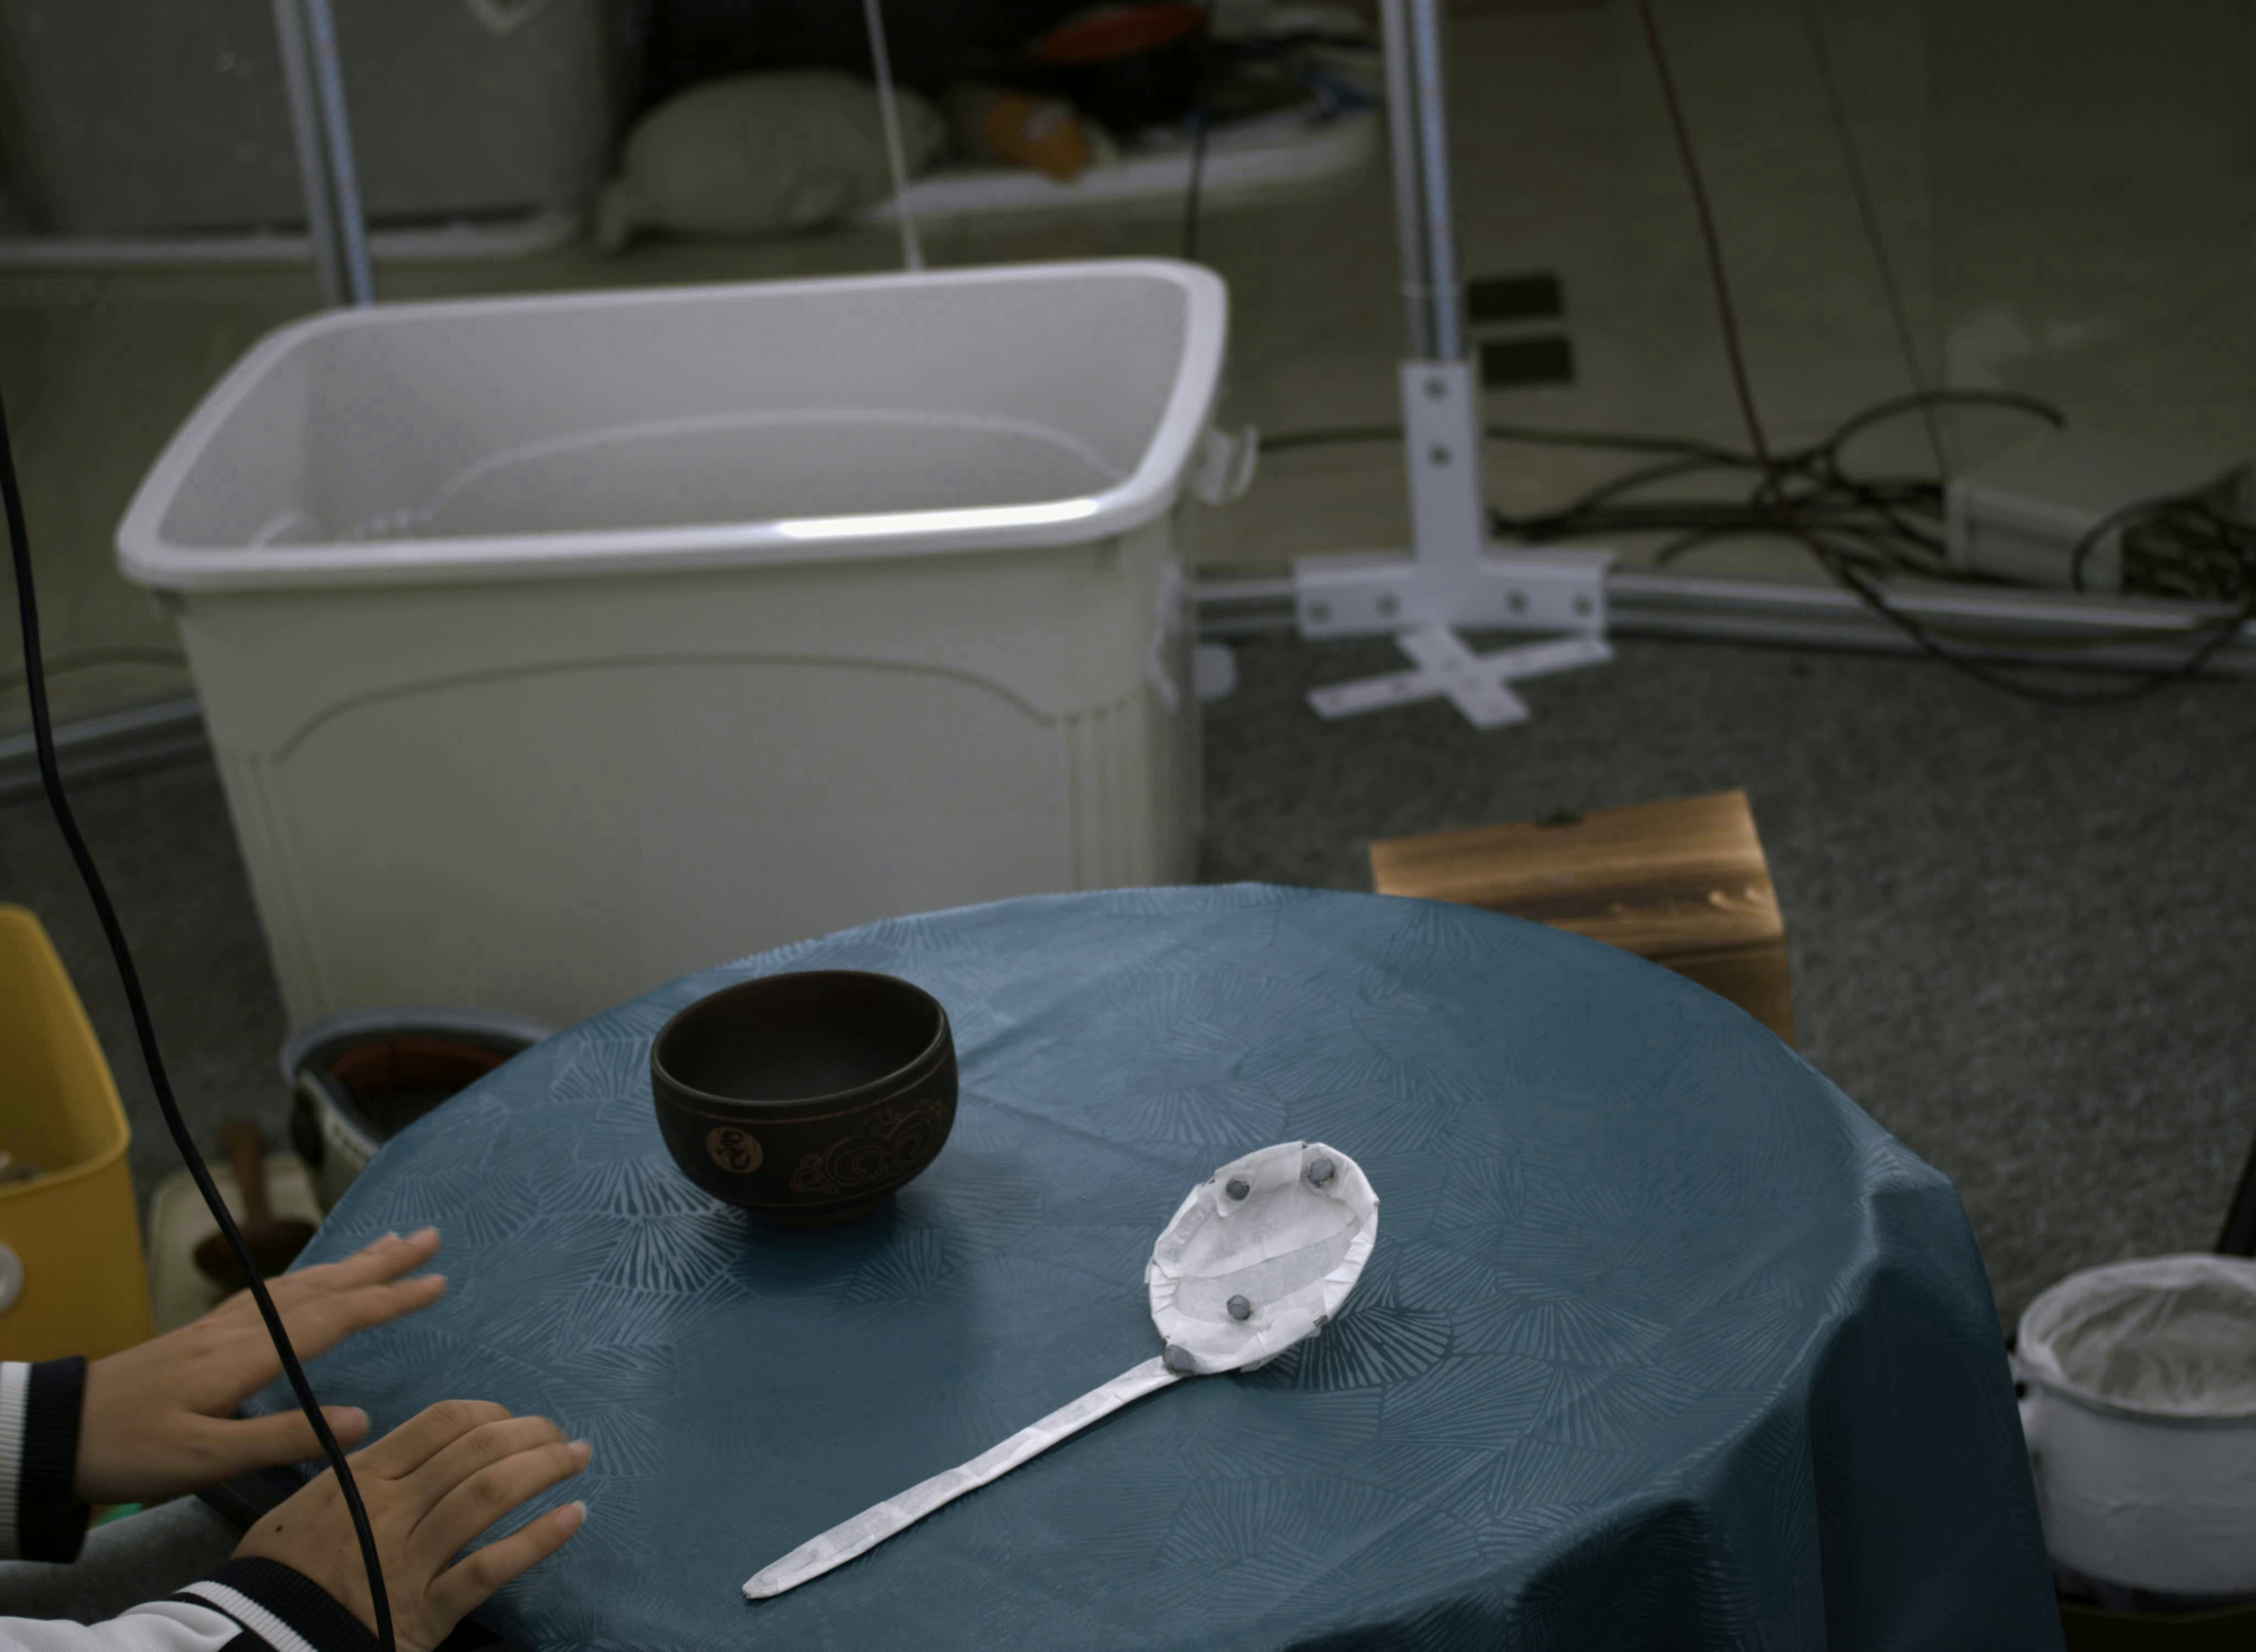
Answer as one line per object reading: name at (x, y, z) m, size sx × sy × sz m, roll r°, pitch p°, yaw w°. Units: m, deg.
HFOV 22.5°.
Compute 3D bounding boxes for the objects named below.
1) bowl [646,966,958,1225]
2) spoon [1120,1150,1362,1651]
bowl at (-0.122, 0.108, 2.156) m, size 0.118 × 0.071 × 0.116 m, roll -5°, pitch 25°, yaw 3°
spoon at (0.049, 0.251, 2.029) m, size 0.101 × 0.276 × 0.059 m, roll -14°, pitch -12°, yaw 37°
